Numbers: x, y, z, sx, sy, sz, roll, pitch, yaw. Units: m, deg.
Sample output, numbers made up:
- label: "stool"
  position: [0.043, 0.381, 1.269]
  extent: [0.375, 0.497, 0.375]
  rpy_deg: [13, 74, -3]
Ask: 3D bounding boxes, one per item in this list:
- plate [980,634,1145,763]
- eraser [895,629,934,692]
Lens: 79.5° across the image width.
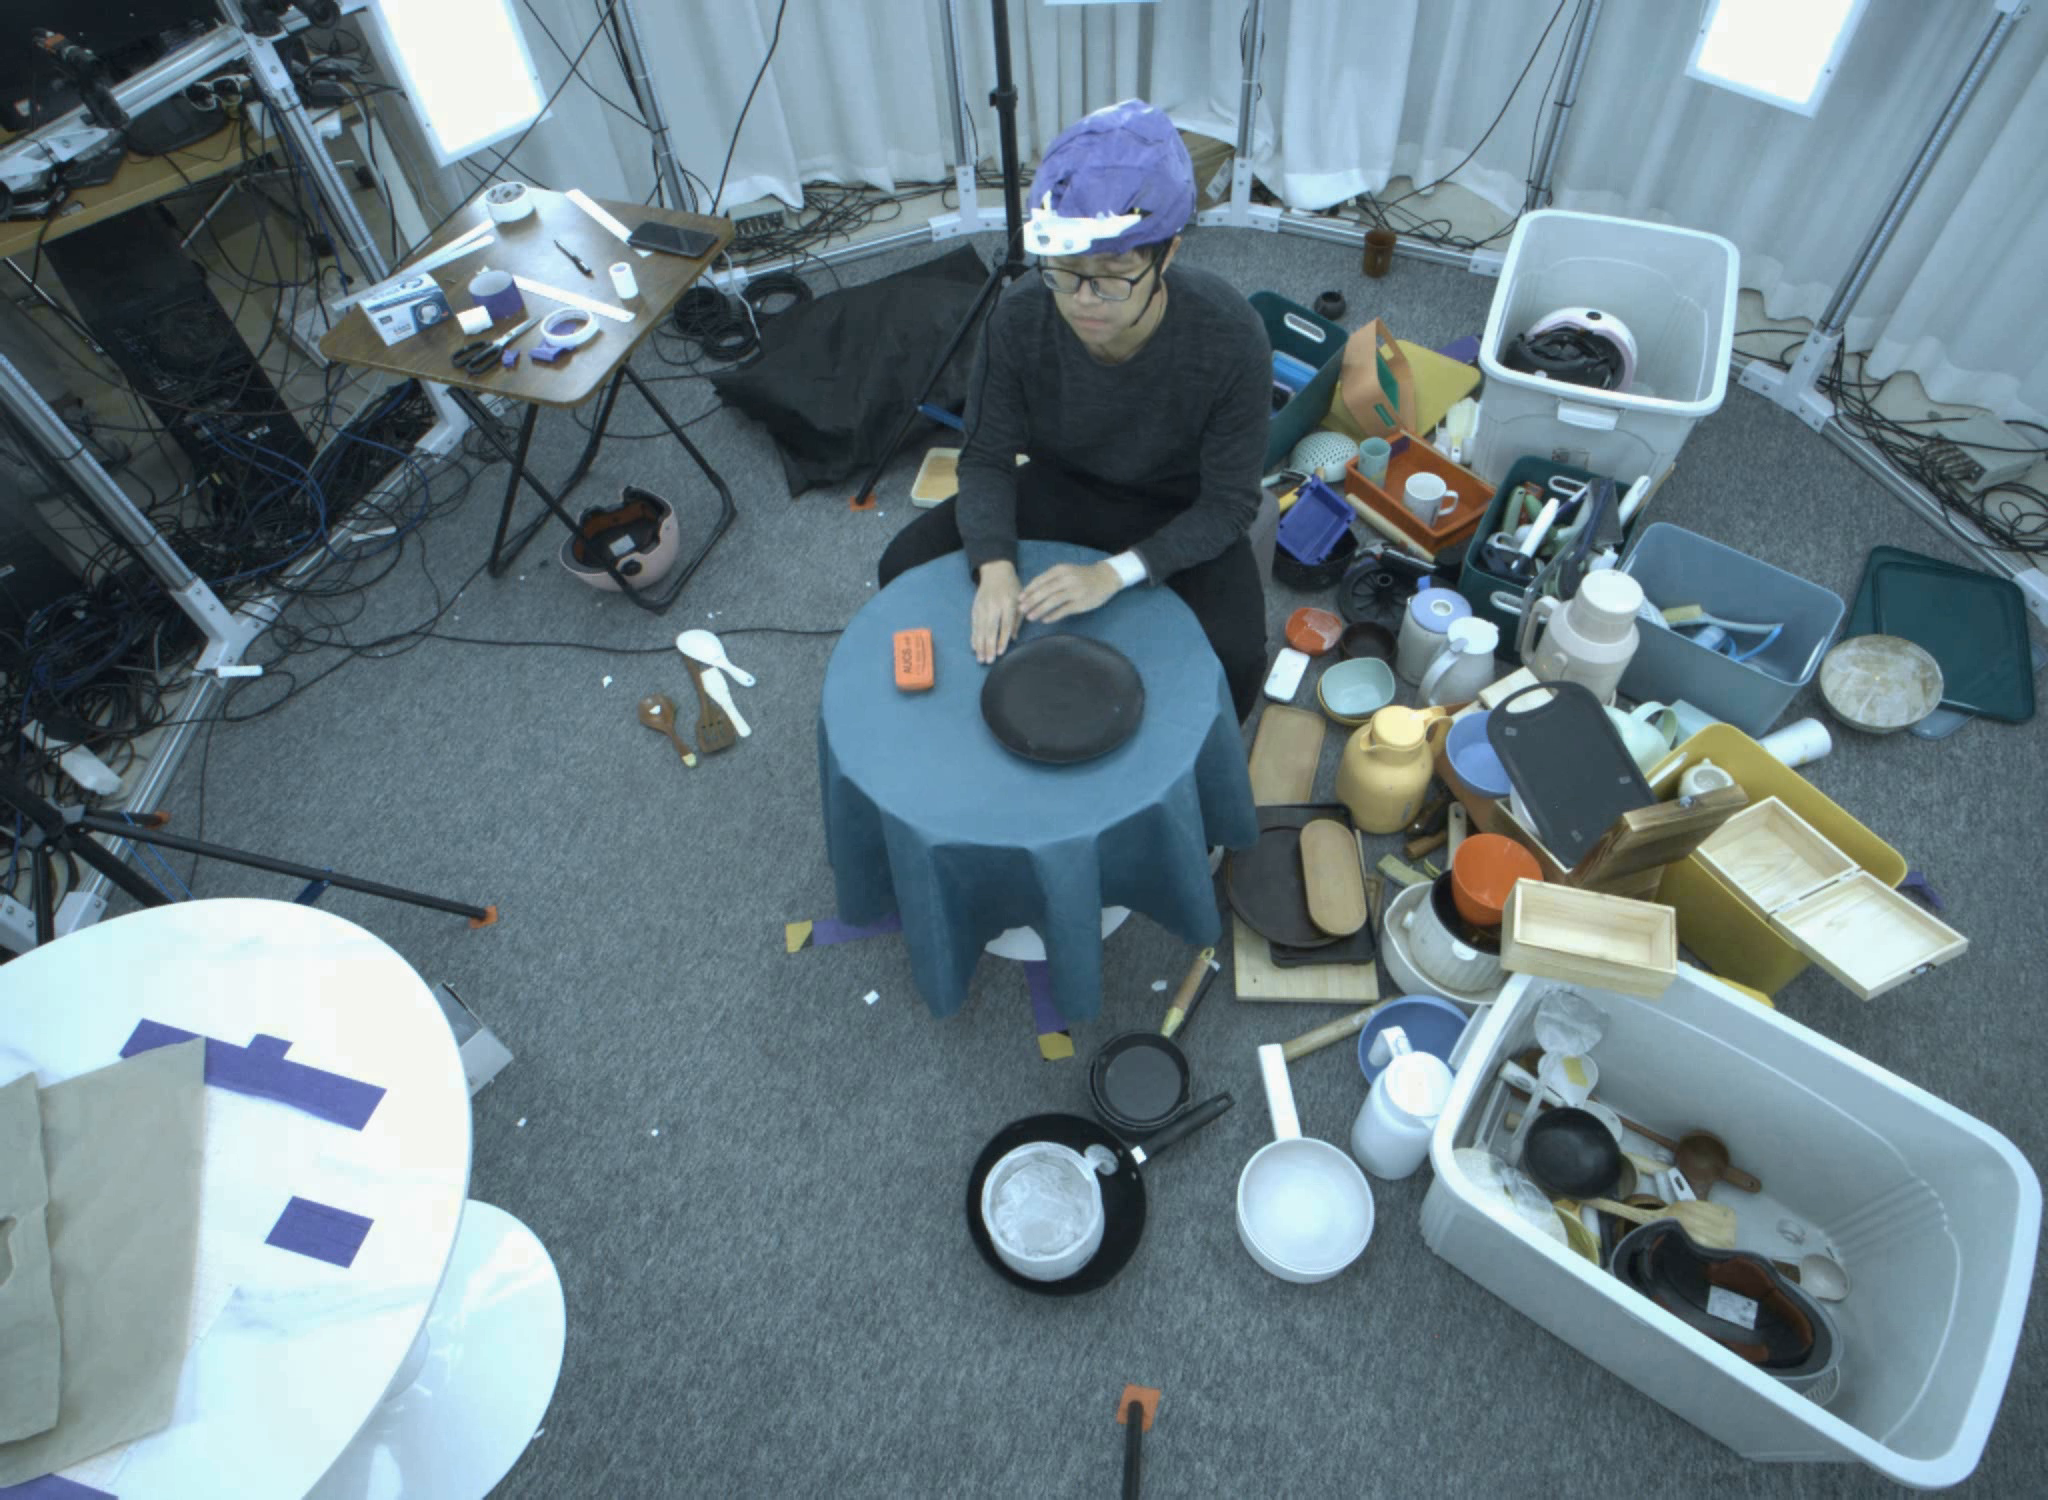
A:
- label: "plate"
  position: [0.057, -0.075, 1.824]
  extent: [0.244, 0.024, 0.242]
  rpy_deg: [-1, 55, 2]
- label: "eraser"
  position: [-0.168, -0.138, 1.876]
  extent: [0.059, 0.023, 0.107]
  rpy_deg: [-3, 55, -2]
